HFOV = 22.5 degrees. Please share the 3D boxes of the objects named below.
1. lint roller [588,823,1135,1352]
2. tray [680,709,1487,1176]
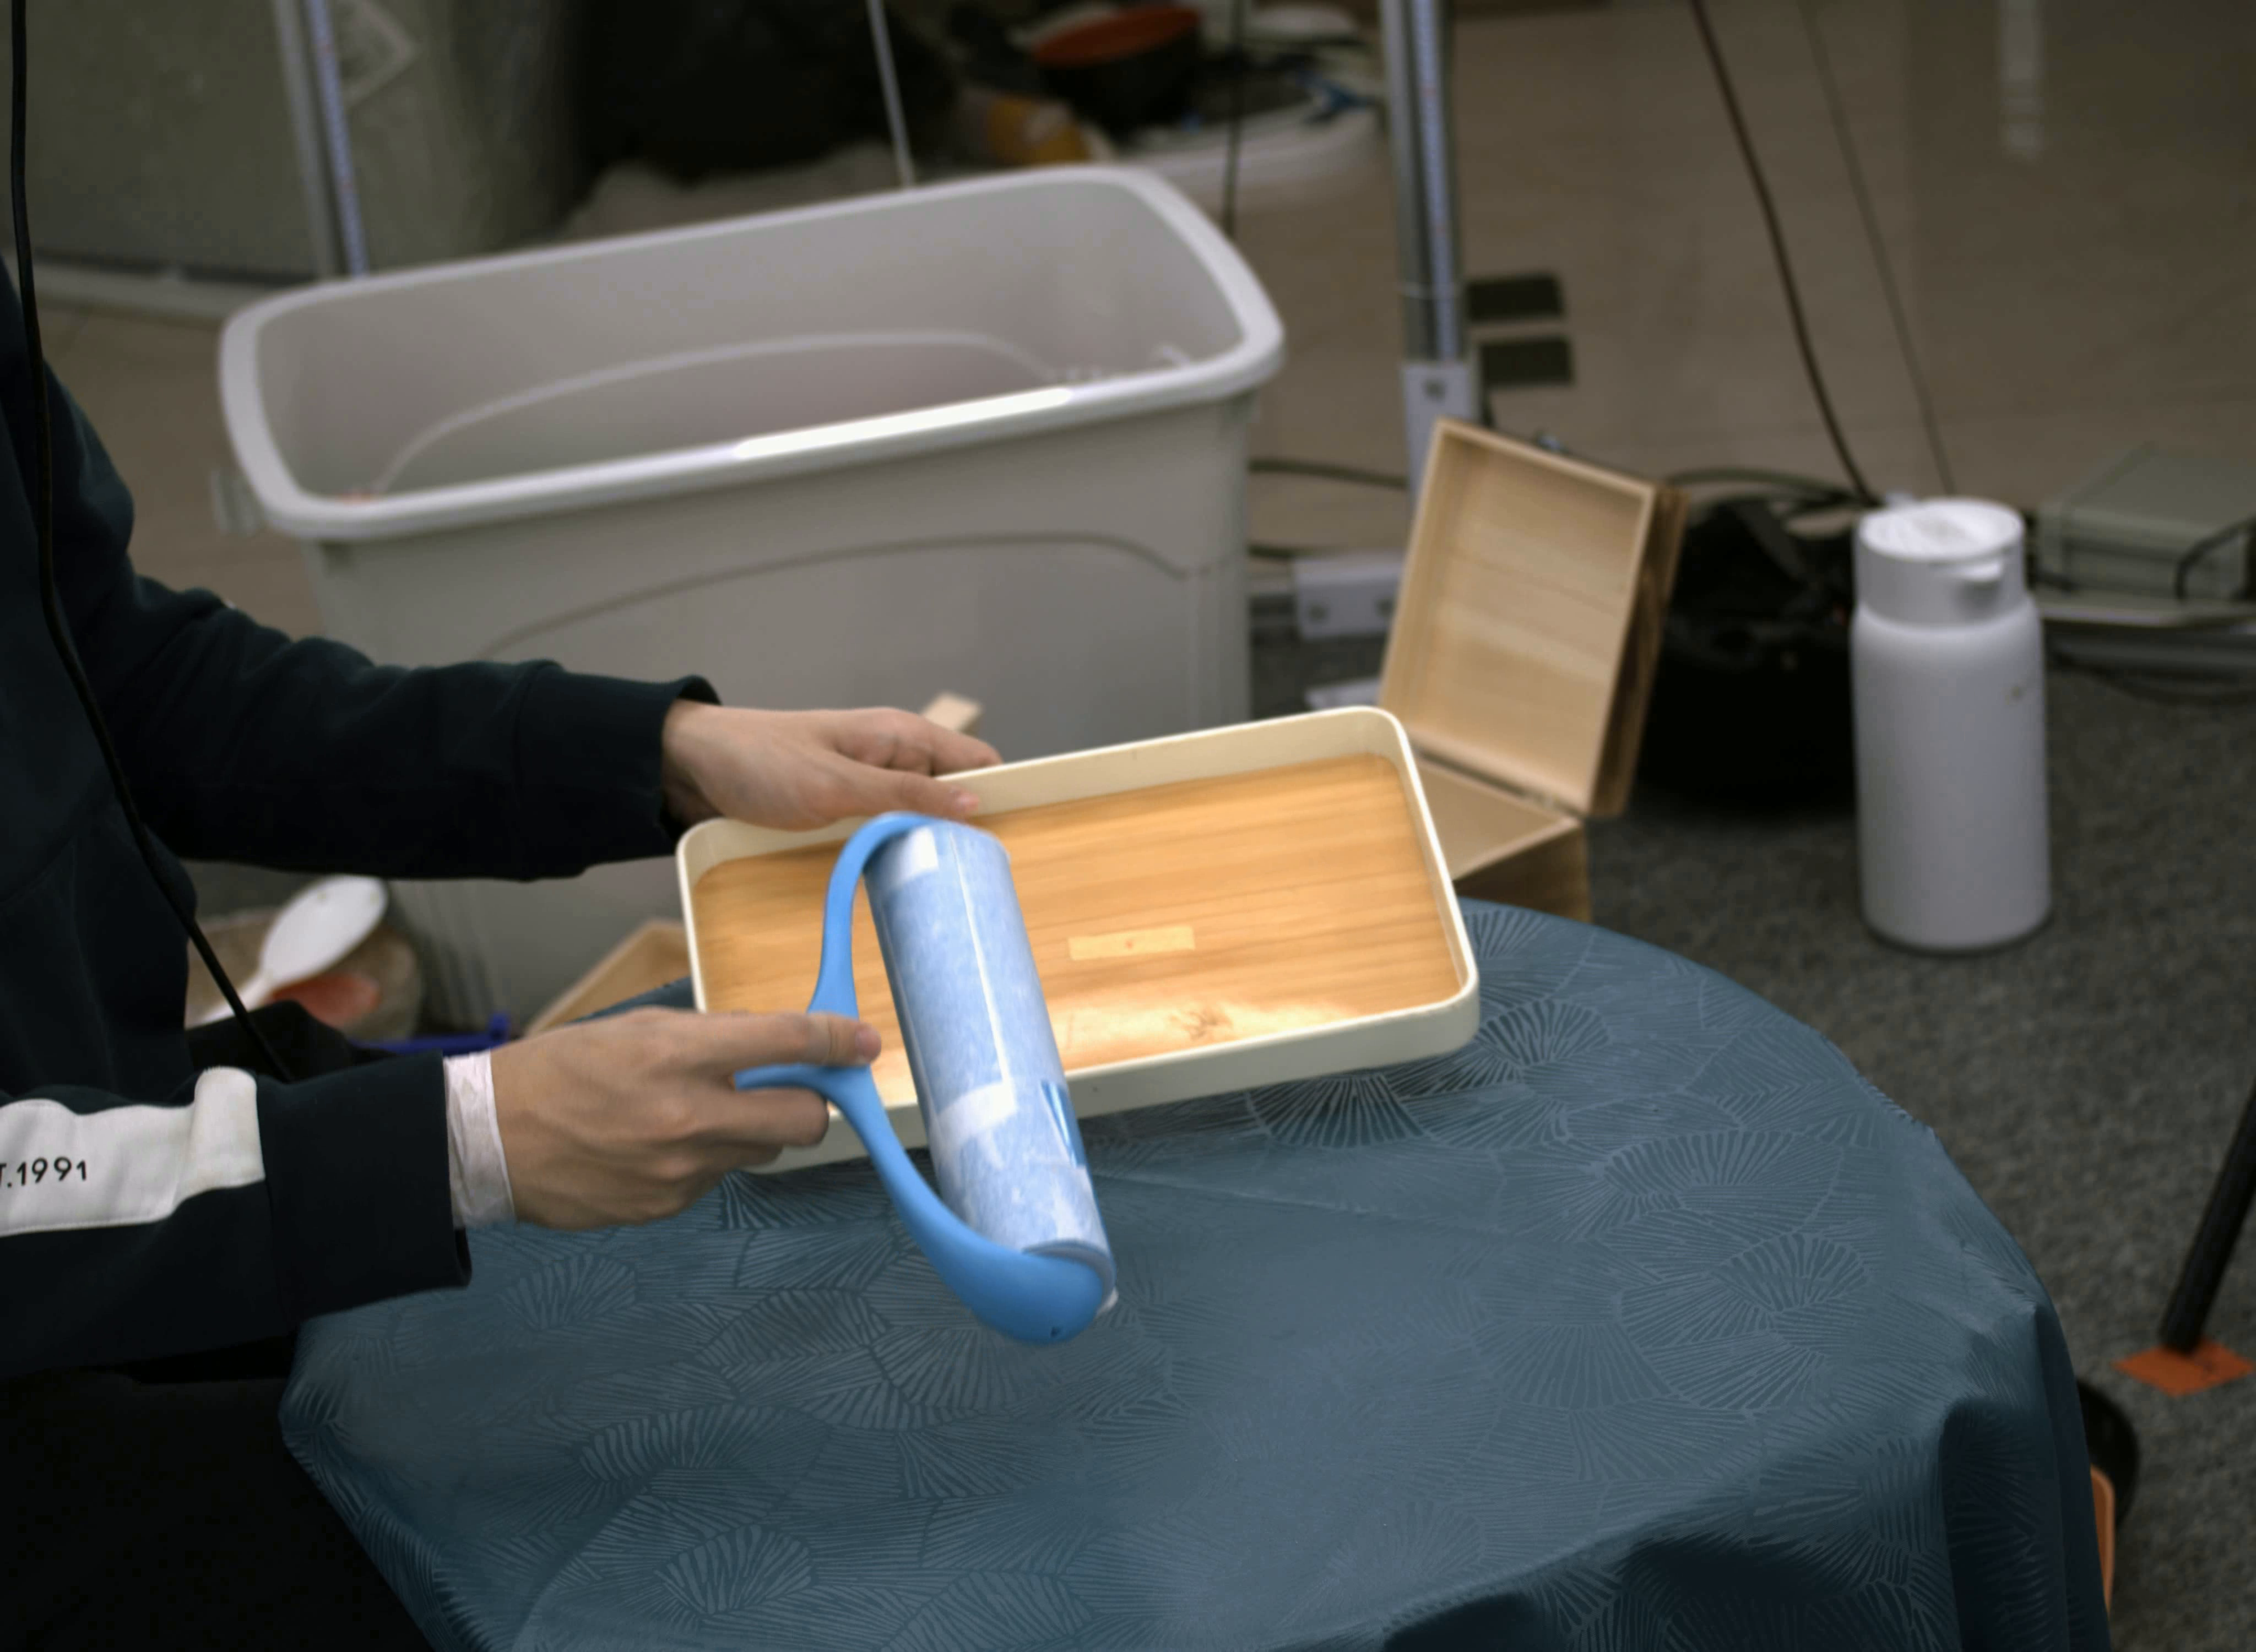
[{"bbox_3d":[-0.104,0.103,2.014,0.180,0.069,0.225,-12,54,-11],"label":"lint roller"},{"bbox_3d":[-0.020,0.043,2.227,0.300,0.028,0.188,-10,41,-2],"label":"tray"}]
